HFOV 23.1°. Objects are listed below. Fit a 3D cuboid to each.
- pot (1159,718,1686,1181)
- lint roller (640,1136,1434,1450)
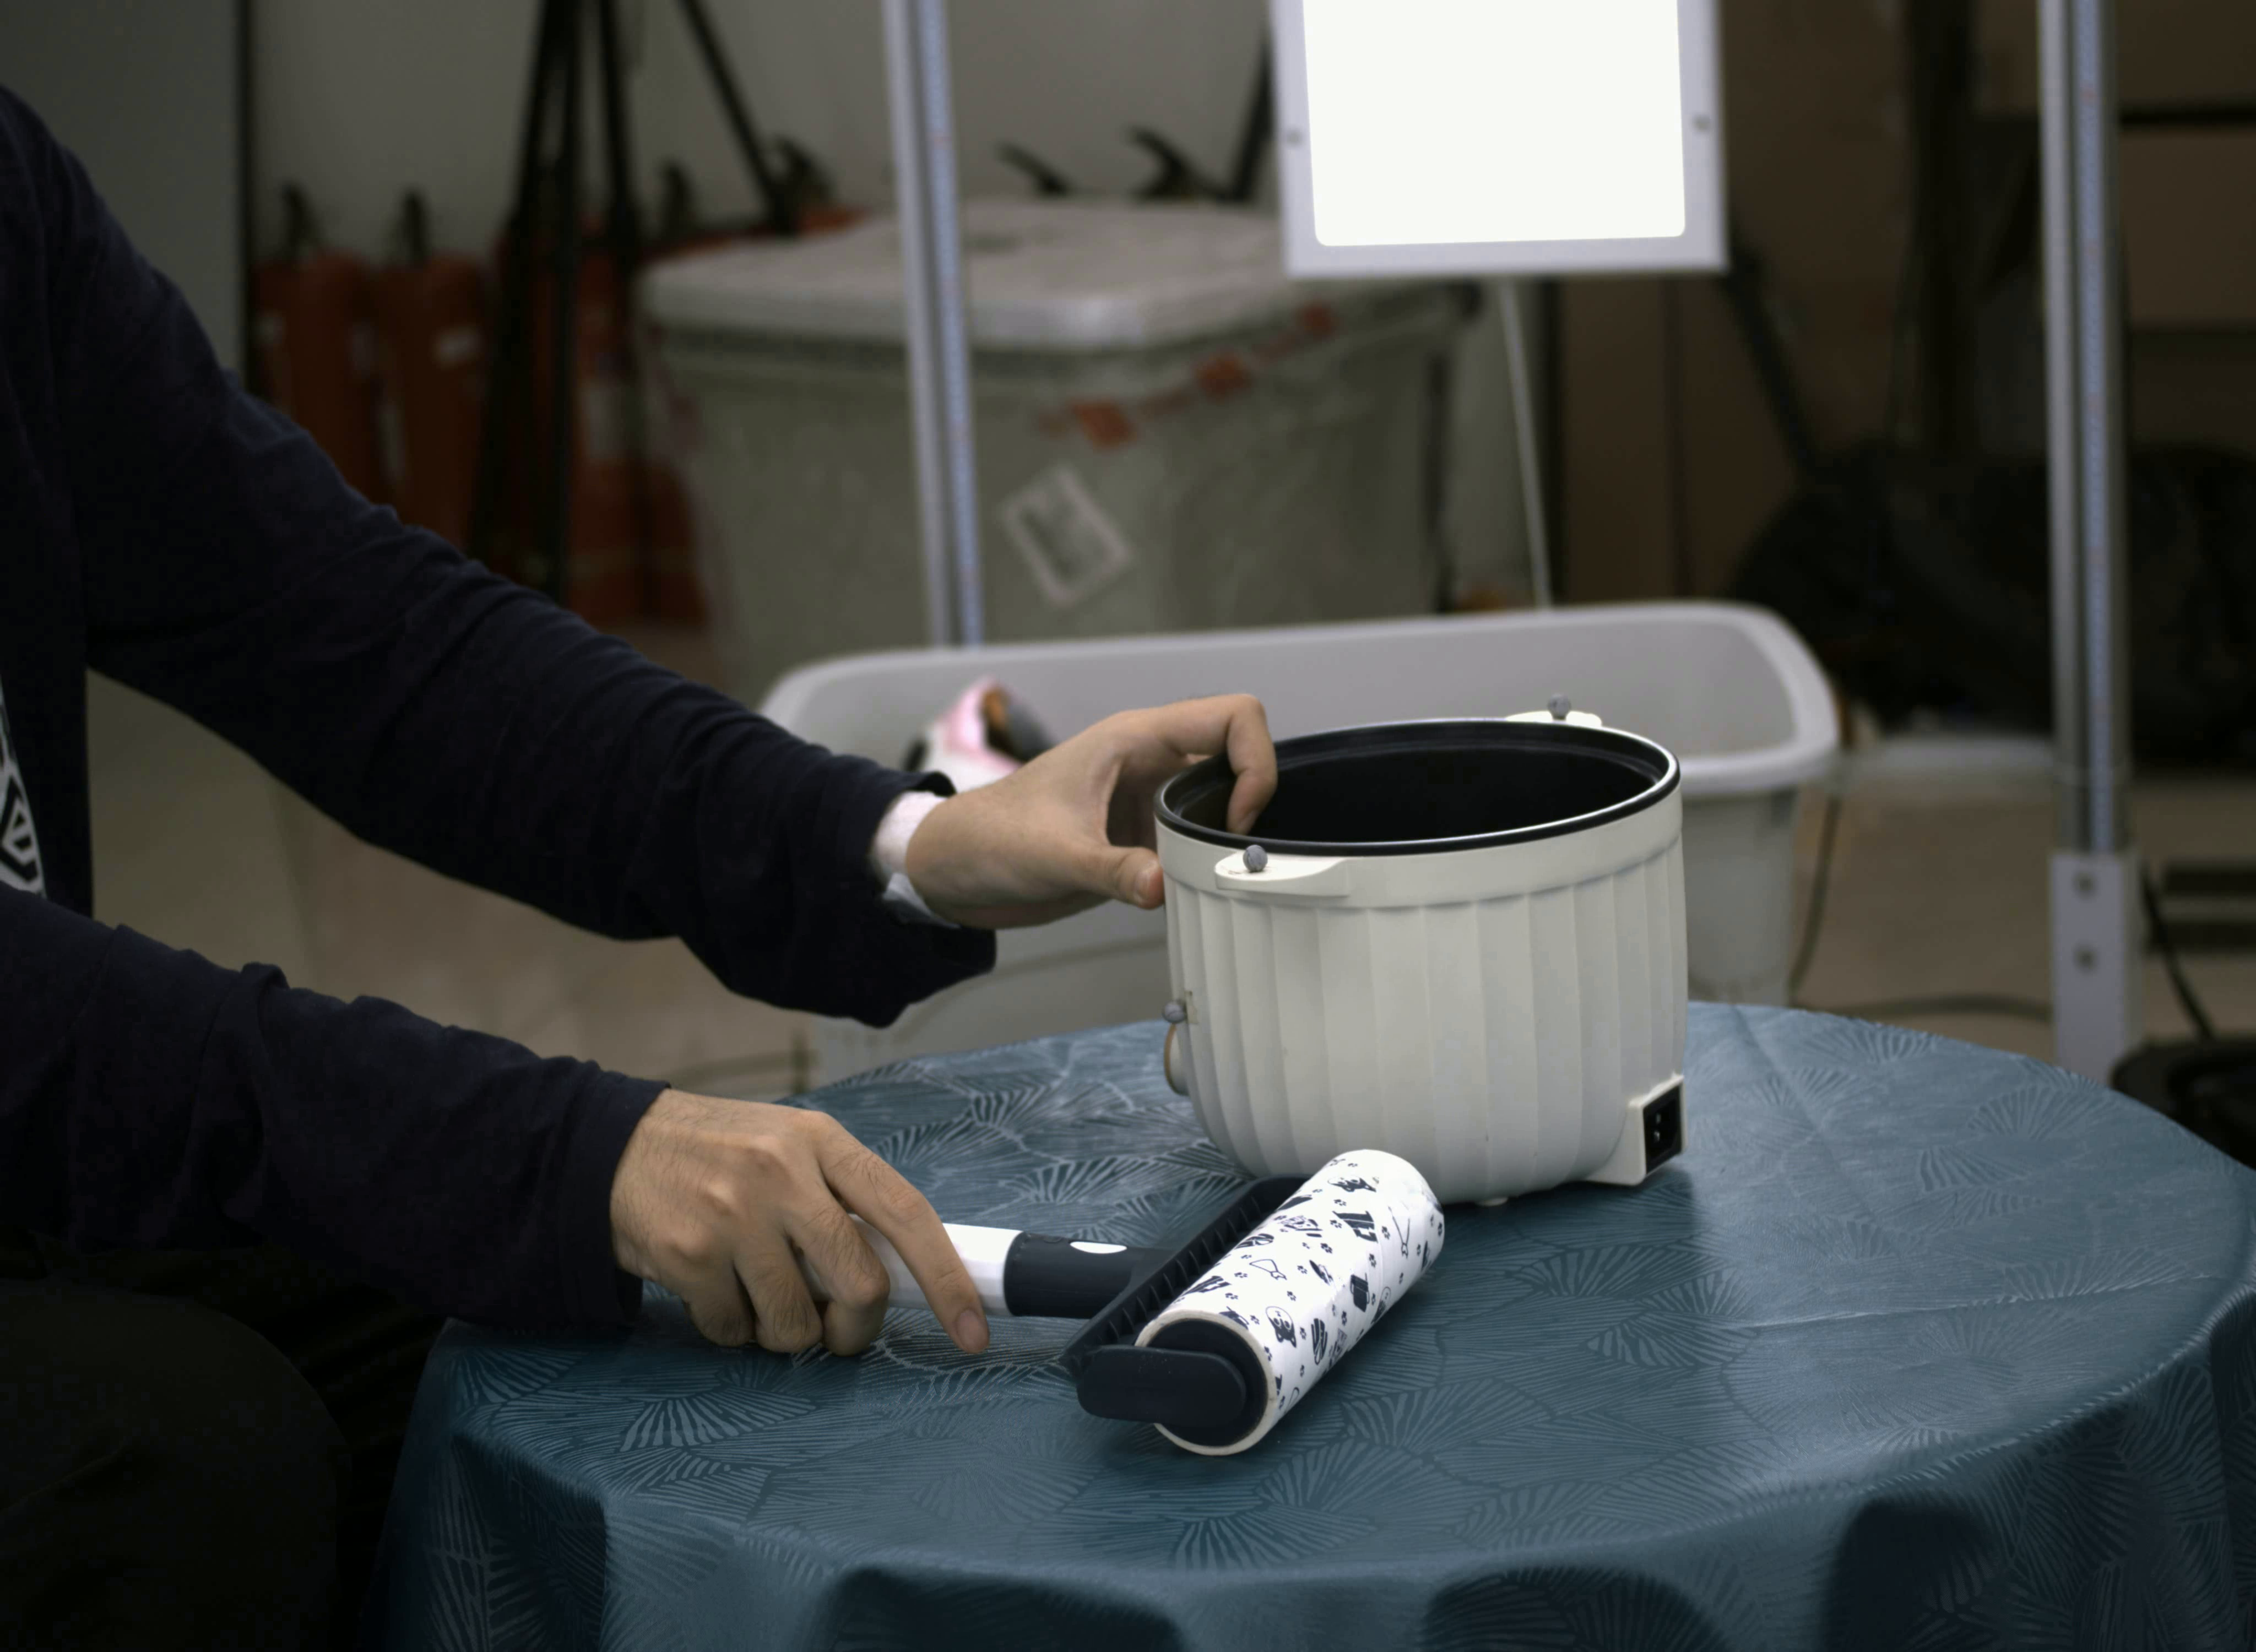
[{"bbox_3d":[0.098,0.042,1.902,0.194,0.143,0.235,6,11,32],"label":"pot"},{"bbox_3d":[-0.044,0.142,1.744,0.251,0.050,0.173,1,16,23],"label":"lint roller"}]
